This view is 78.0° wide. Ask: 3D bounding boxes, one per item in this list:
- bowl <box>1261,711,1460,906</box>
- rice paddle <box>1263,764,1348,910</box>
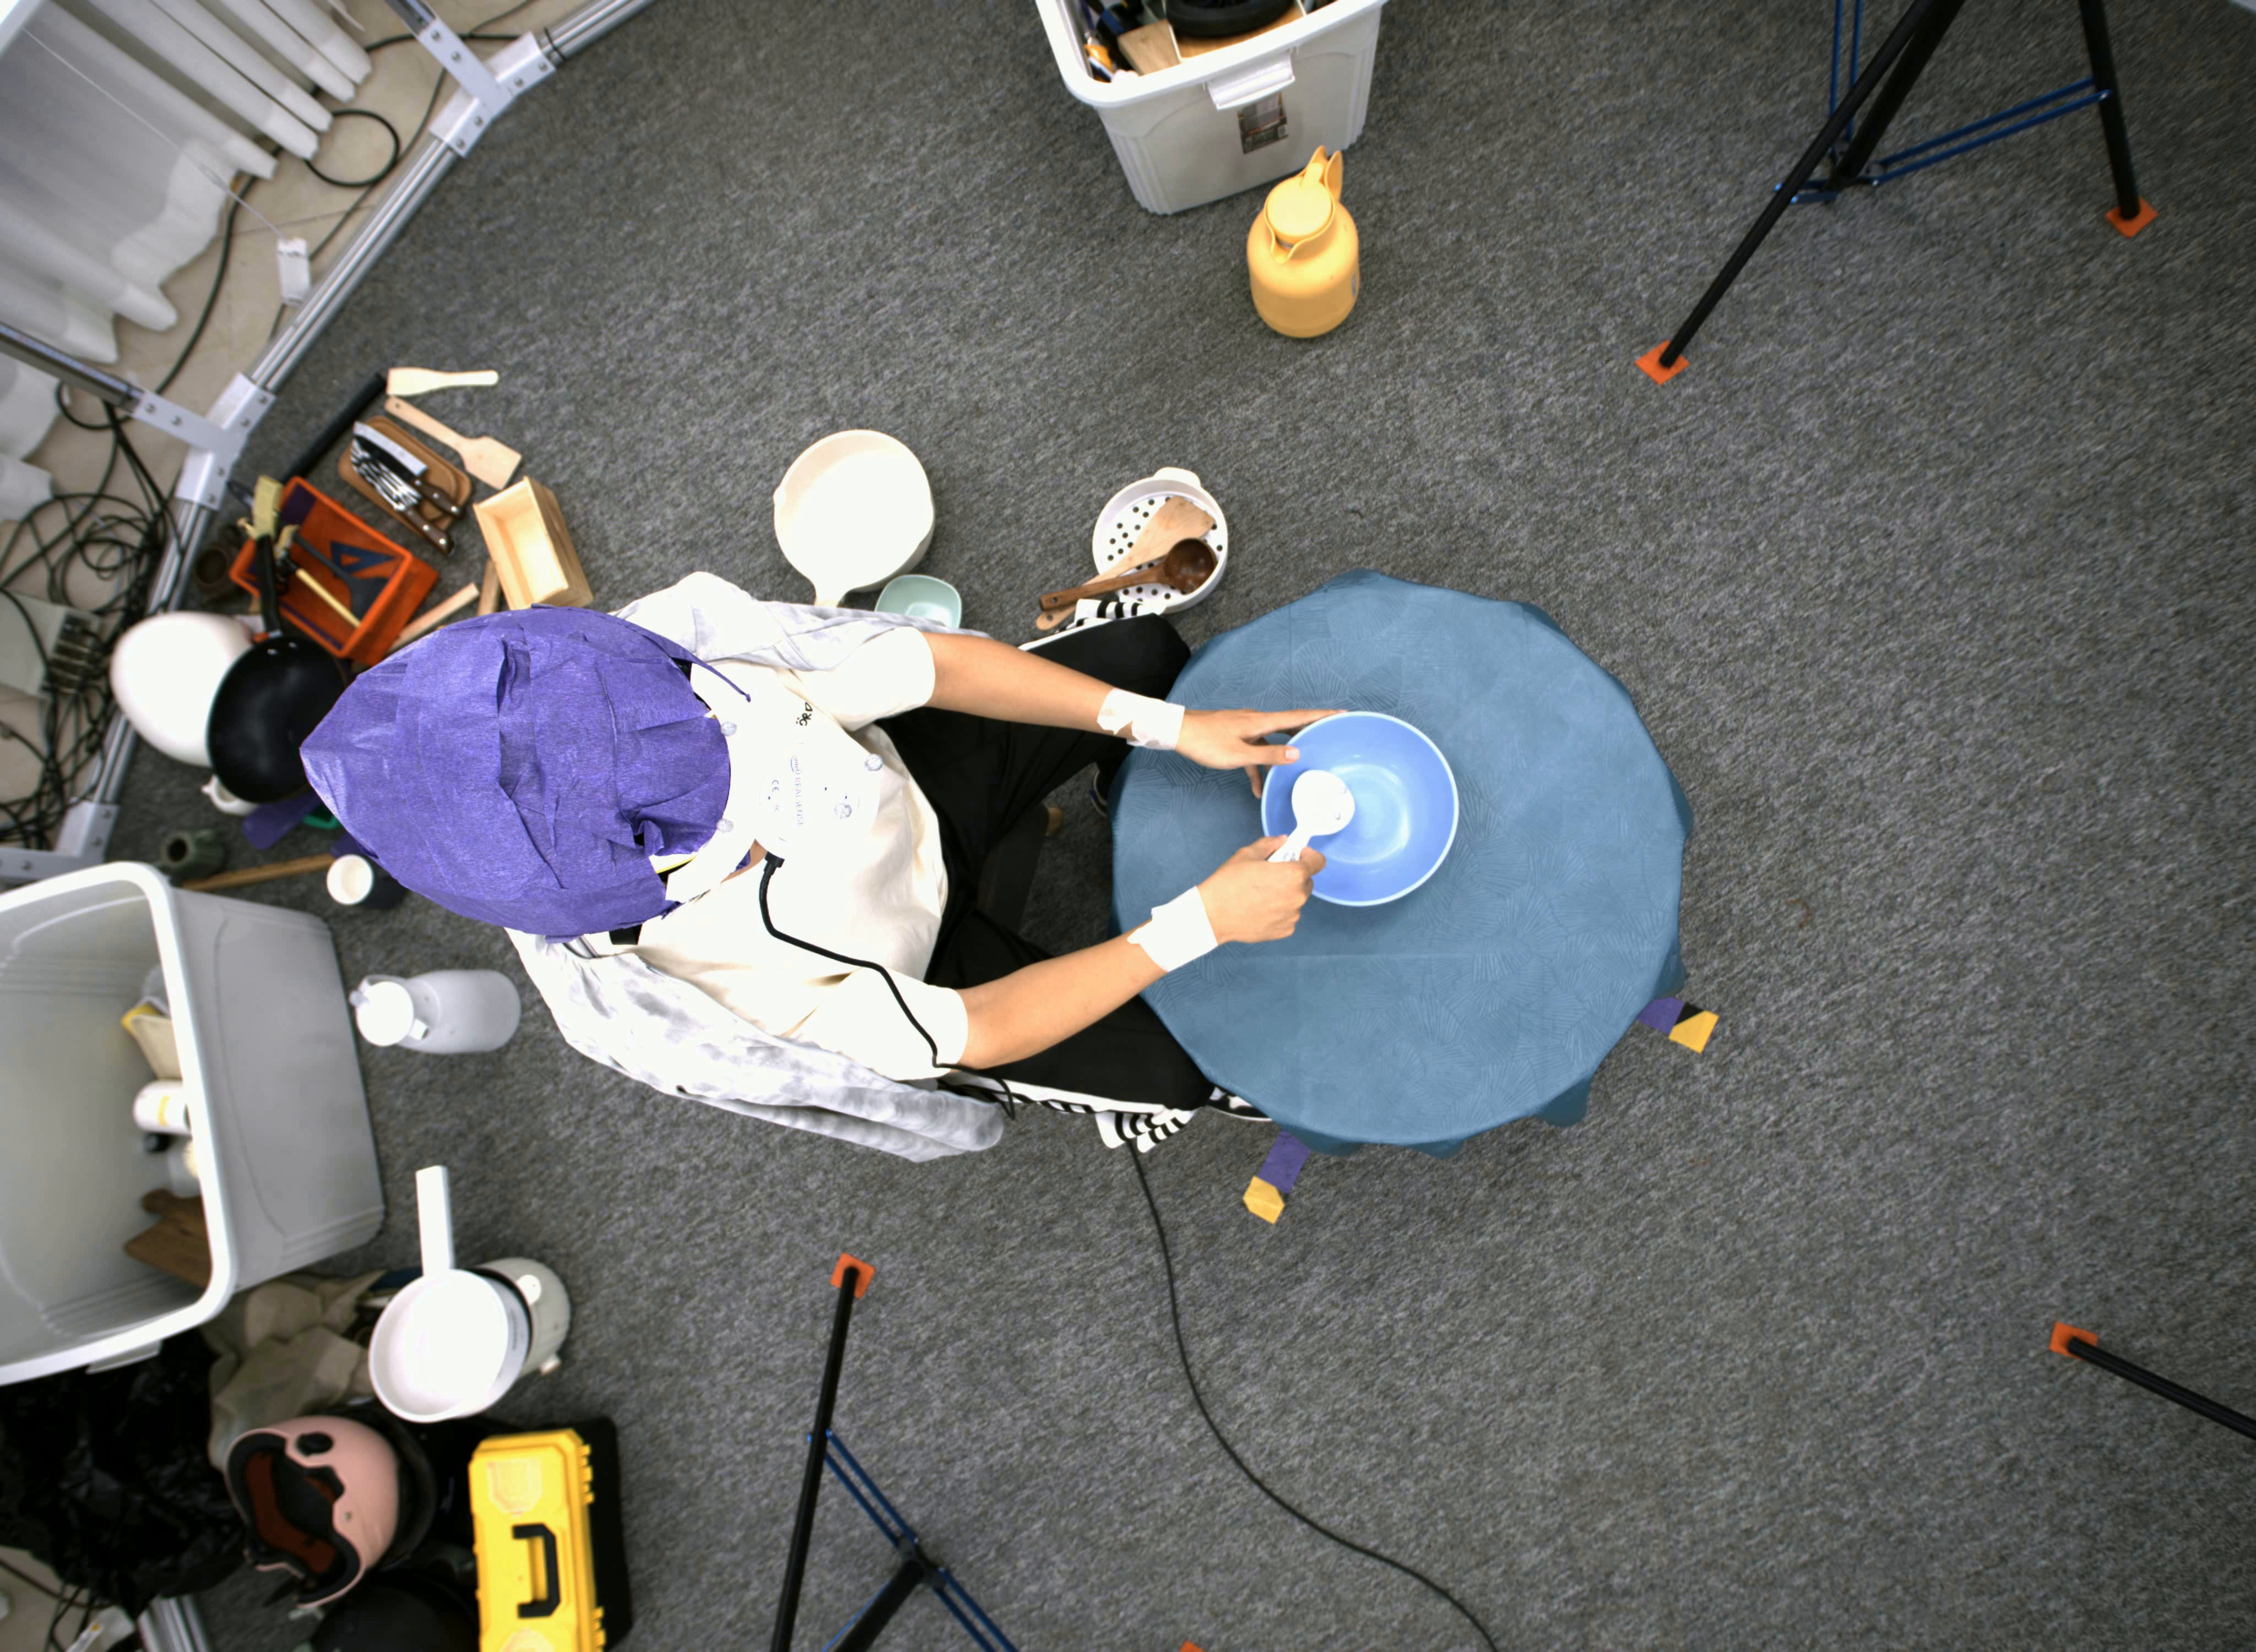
[{"bbox_3d":[0.237,-0.015,1.419,0.197,0.095,0.196,-1,87,9],"label":"bowl"},{"bbox_3d":[0.177,0.001,1.402,0.069,0.030,0.200,21,50,4],"label":"rice paddle"}]
